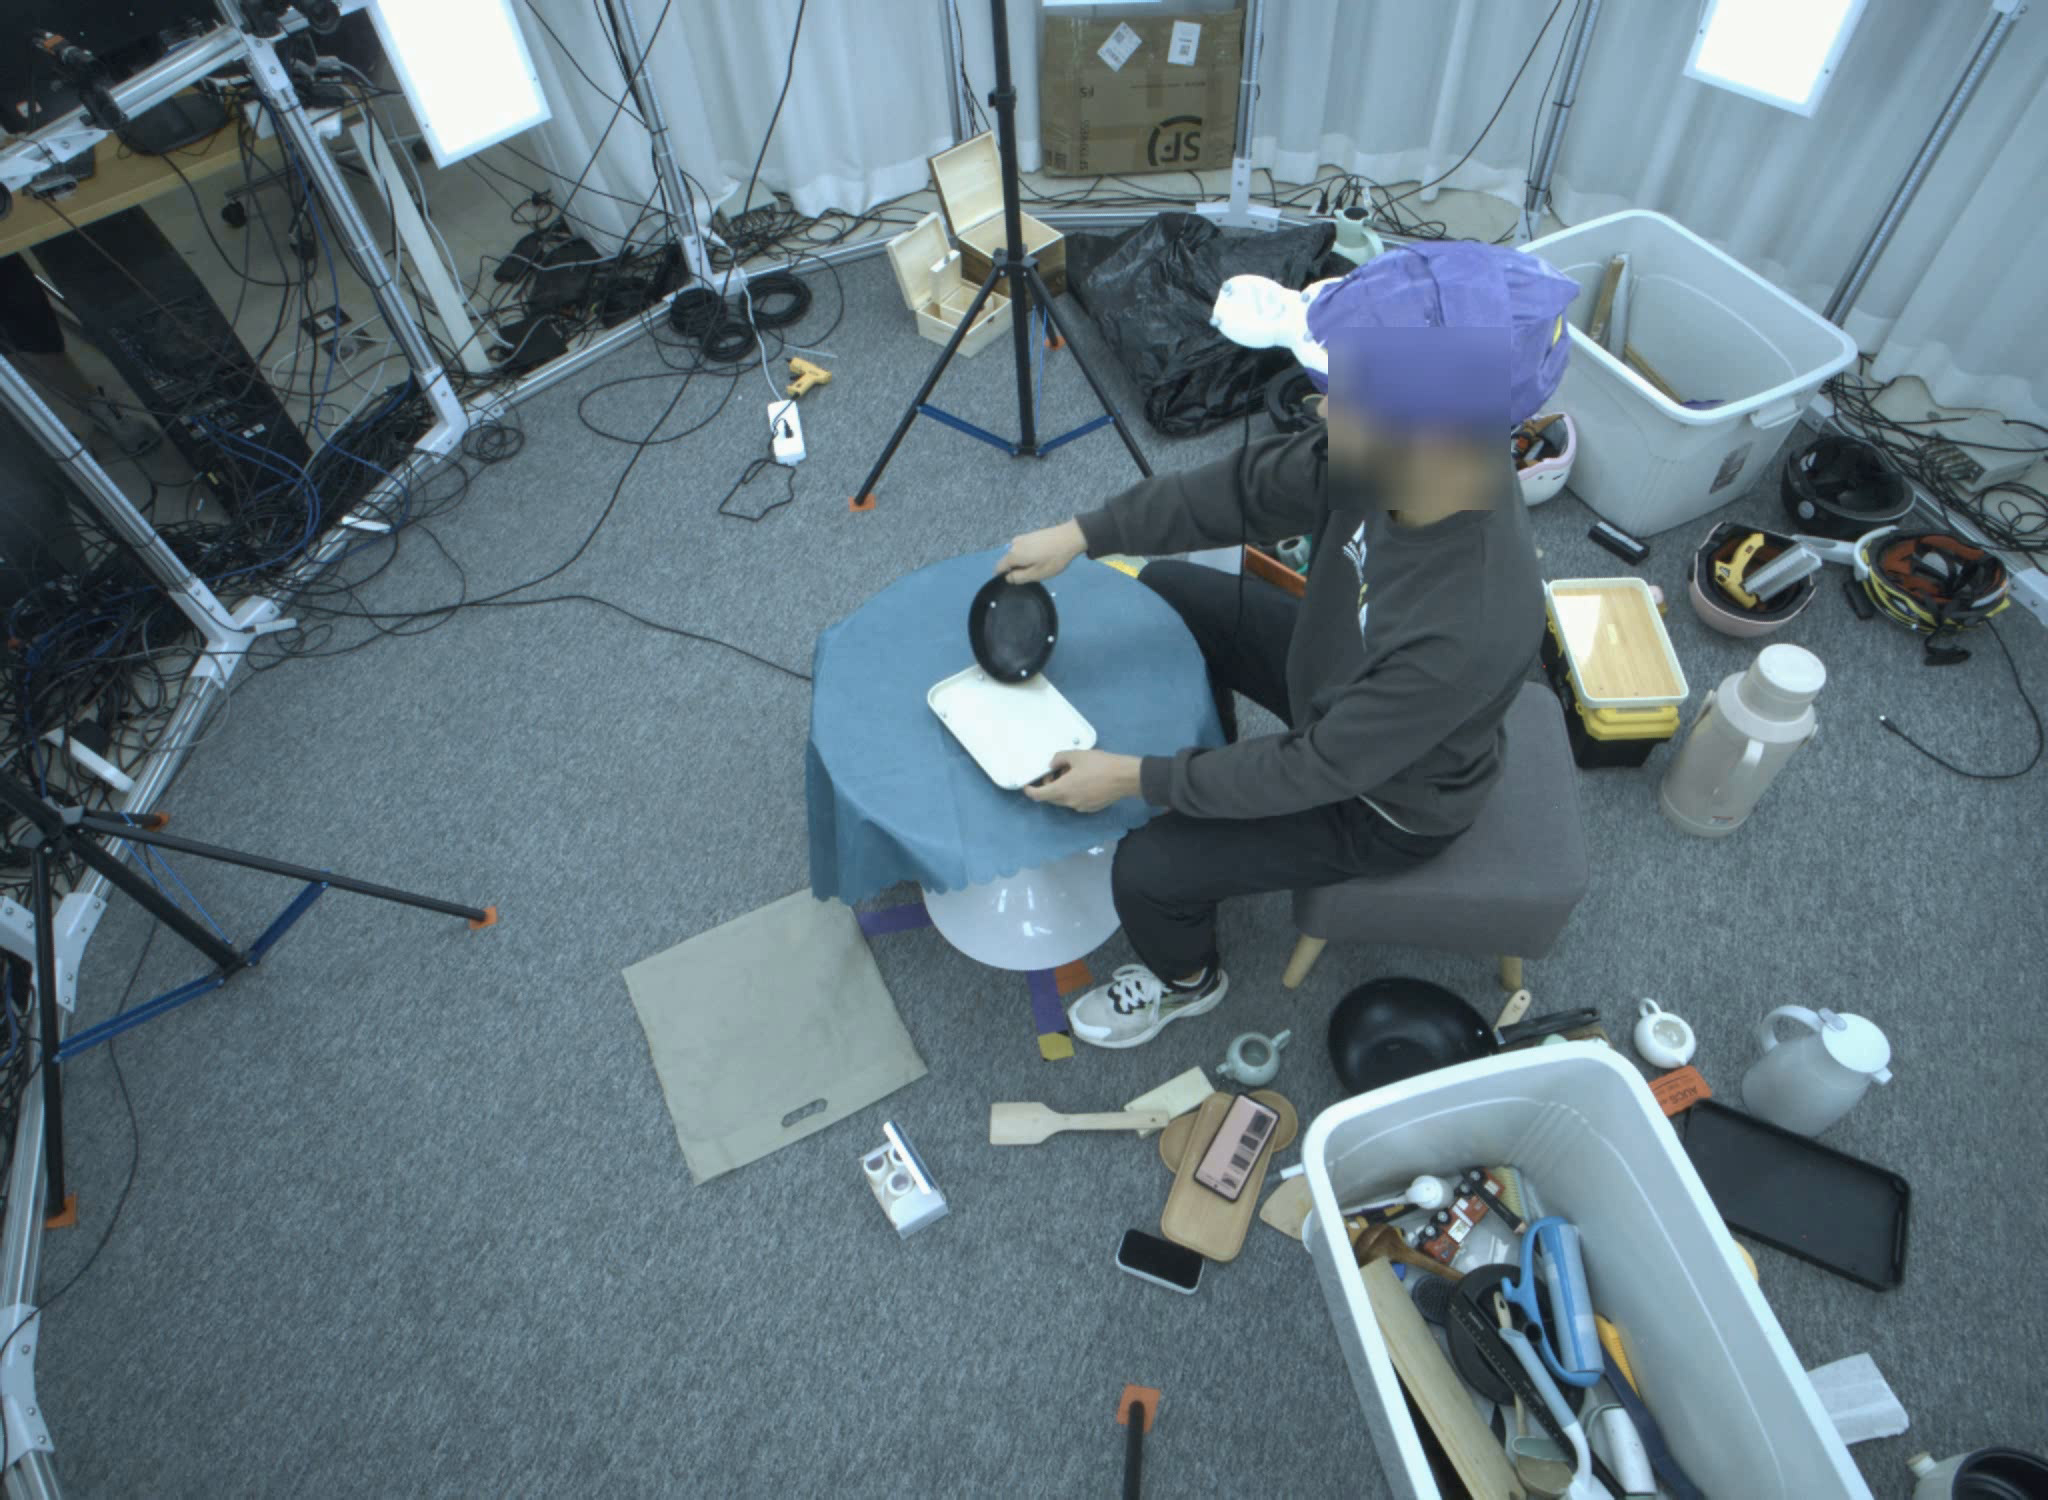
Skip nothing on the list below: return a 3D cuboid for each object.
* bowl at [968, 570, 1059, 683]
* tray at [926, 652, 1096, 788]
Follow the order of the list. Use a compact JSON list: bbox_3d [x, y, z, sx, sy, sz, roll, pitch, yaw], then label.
[{"bbox_3d":[-0.010,-0.186,1.838,0.136,0.171,0.067,9,16,10],"label":"bowl"},{"bbox_3d":[-0.021,-0.045,1.797,0.173,0.017,0.235,-27,55,-22],"label":"tray"}]
